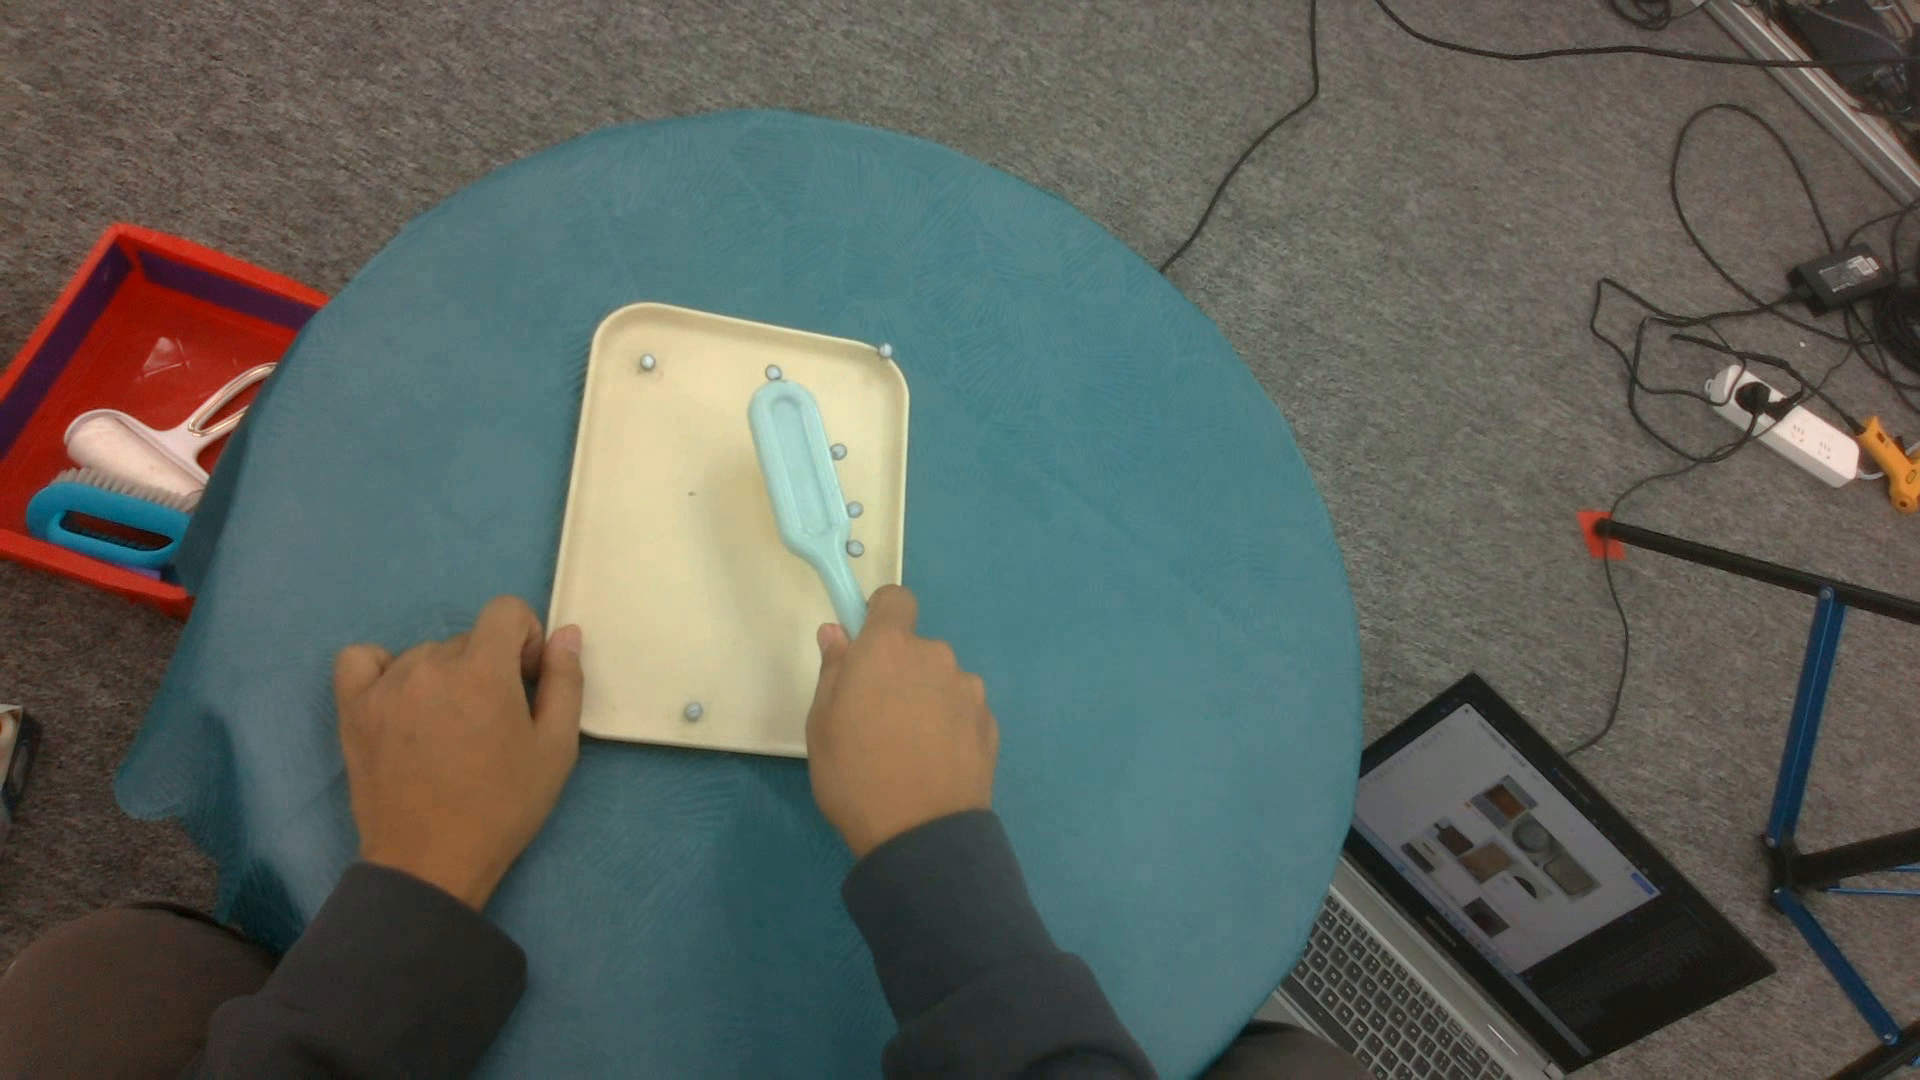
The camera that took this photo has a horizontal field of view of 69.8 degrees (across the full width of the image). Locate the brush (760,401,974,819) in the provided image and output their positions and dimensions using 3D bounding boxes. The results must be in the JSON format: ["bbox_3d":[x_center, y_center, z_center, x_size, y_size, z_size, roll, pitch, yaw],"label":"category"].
[{"bbox_3d":[-0.046,0.032,0.669,0.038,0.049,0.229,-17,62,-21],"label":"brush"}]

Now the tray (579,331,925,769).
[{"bbox_3d":[-0.103,0.002,0.719,0.171,0.017,0.240,6,64,-14],"label":"tray"}]
